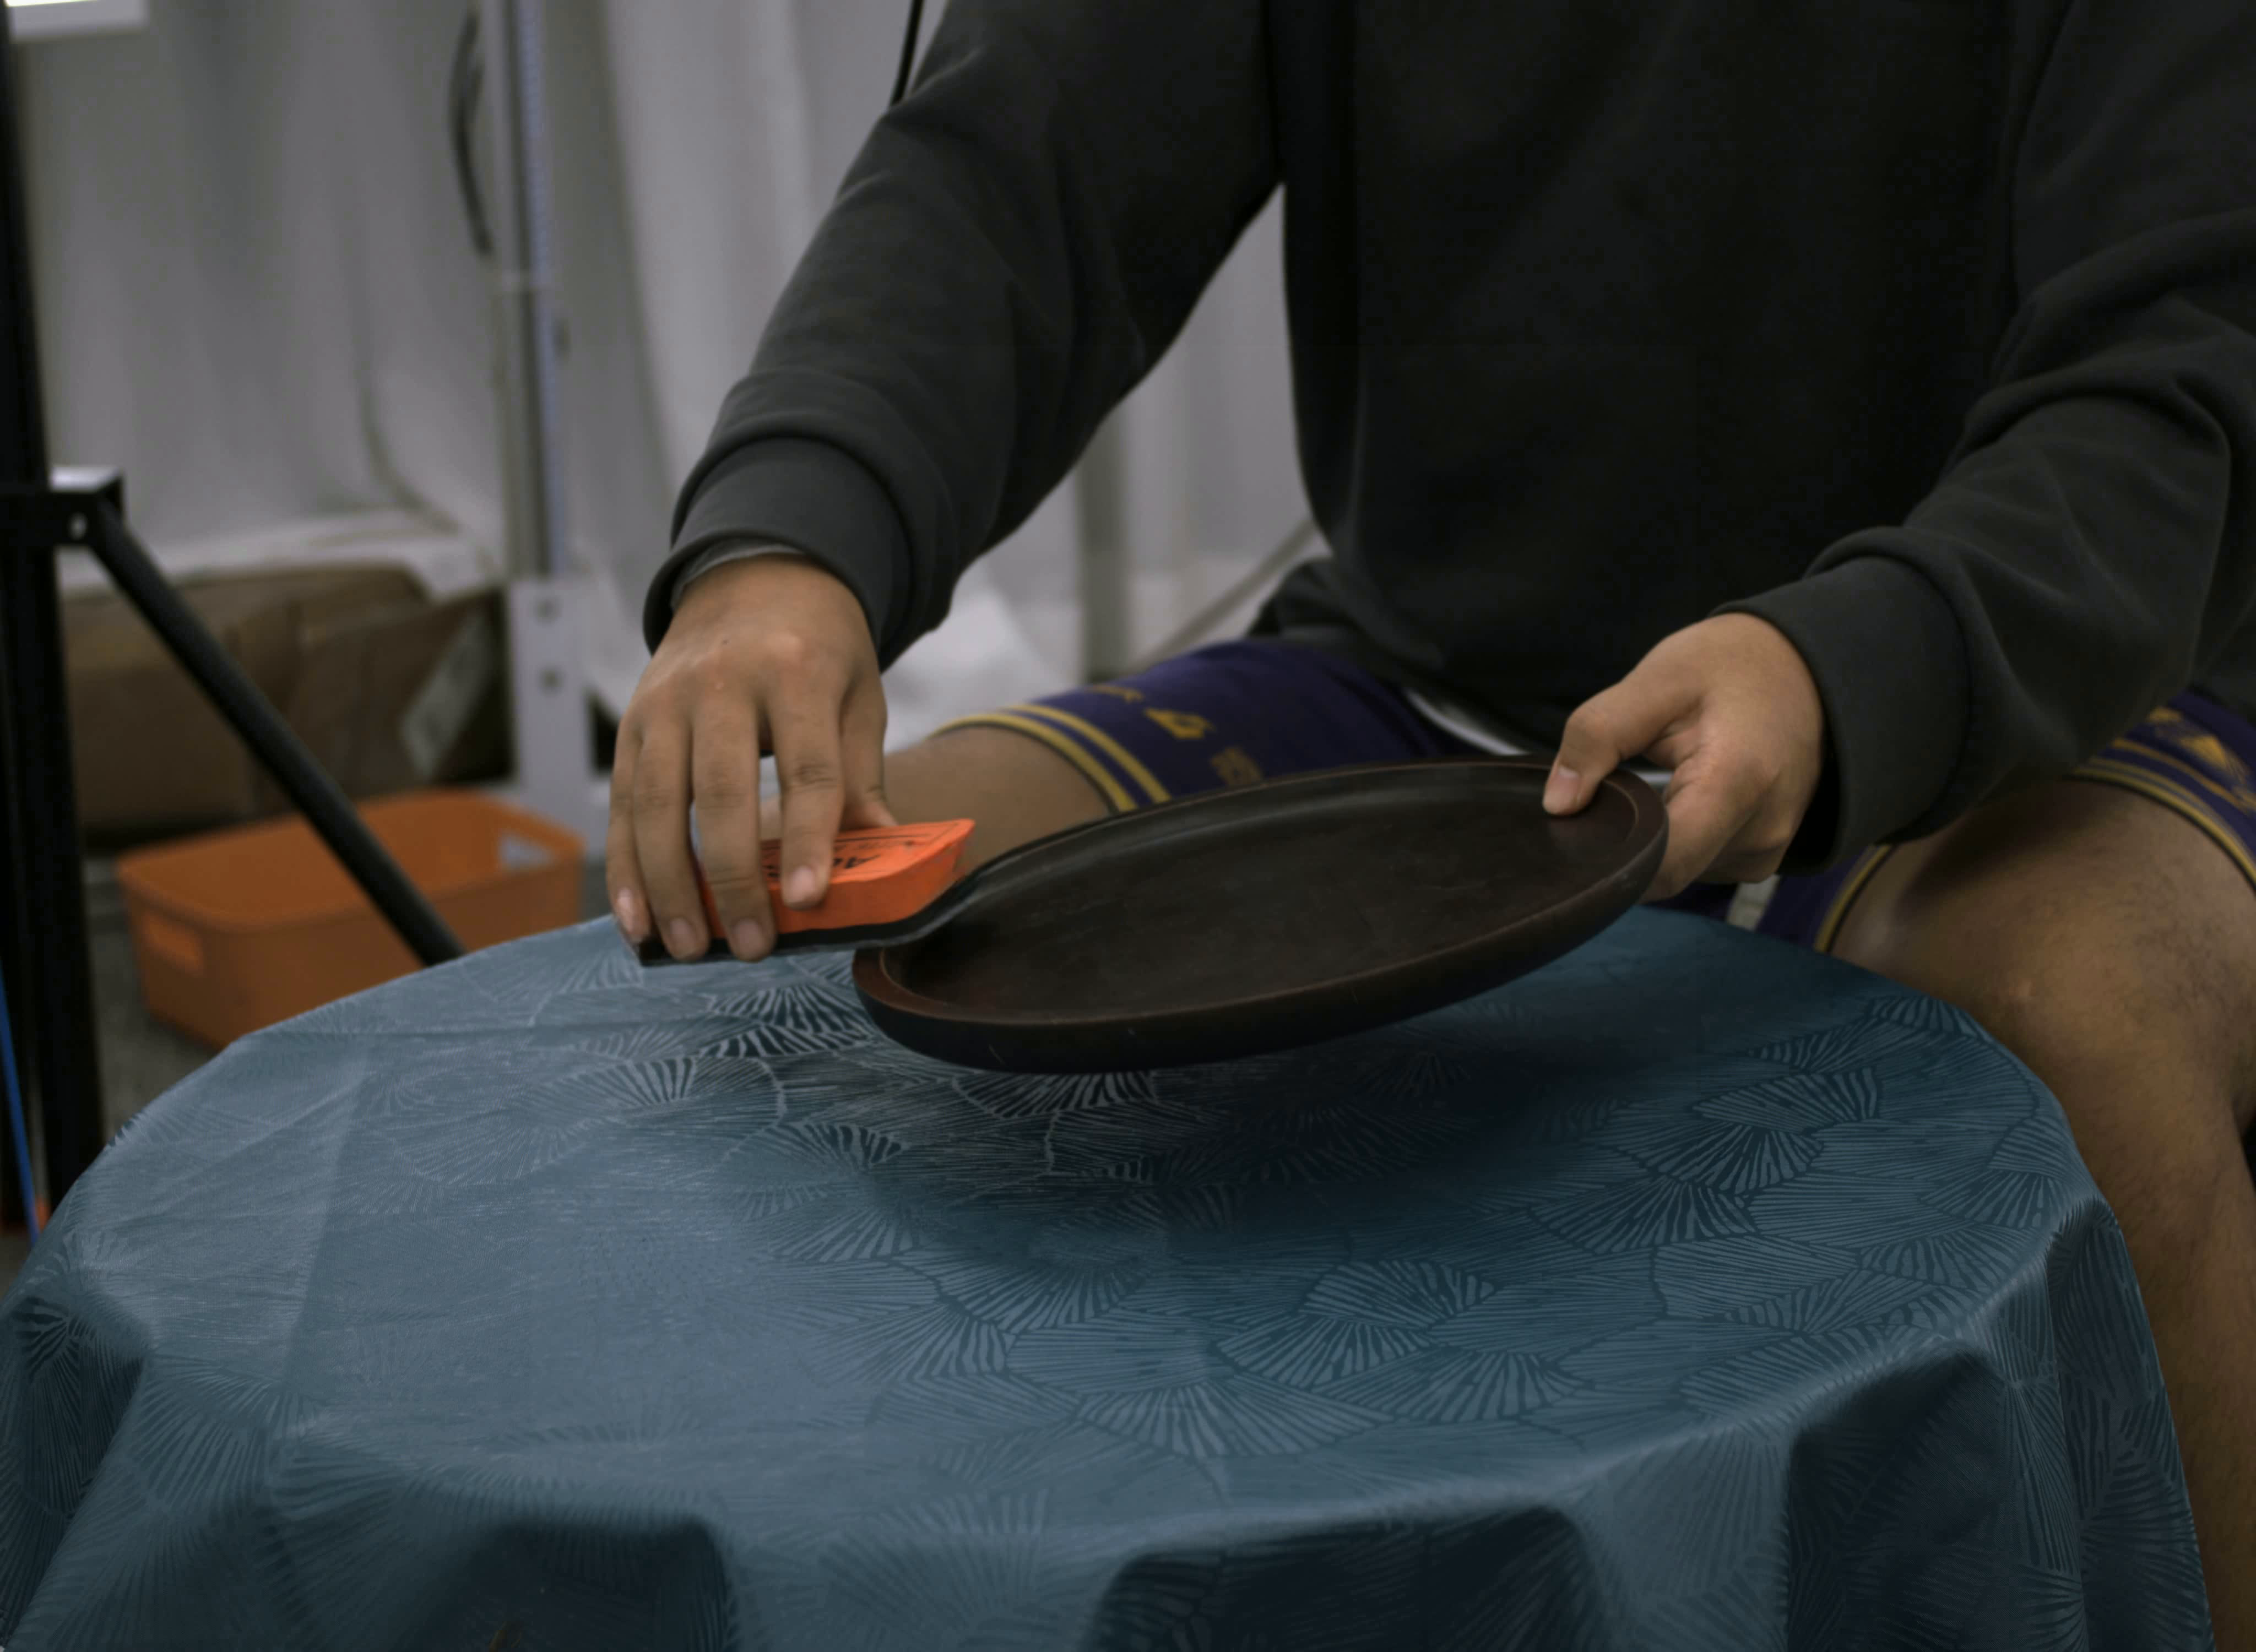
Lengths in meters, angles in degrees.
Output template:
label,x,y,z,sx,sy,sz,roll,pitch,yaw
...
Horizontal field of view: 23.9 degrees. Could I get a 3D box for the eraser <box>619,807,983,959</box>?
label,x,y,z,sx,sy,sz,roll,pitch,yaw
eraser,-0.102,0.018,1.667,0.110,0.023,0.058,-8,14,34

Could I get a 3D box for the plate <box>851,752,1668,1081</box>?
label,x,y,z,sx,sy,sz,roll,pitch,yaw
plate,0.041,0.026,1.612,0.254,0.029,0.256,-13,13,1
